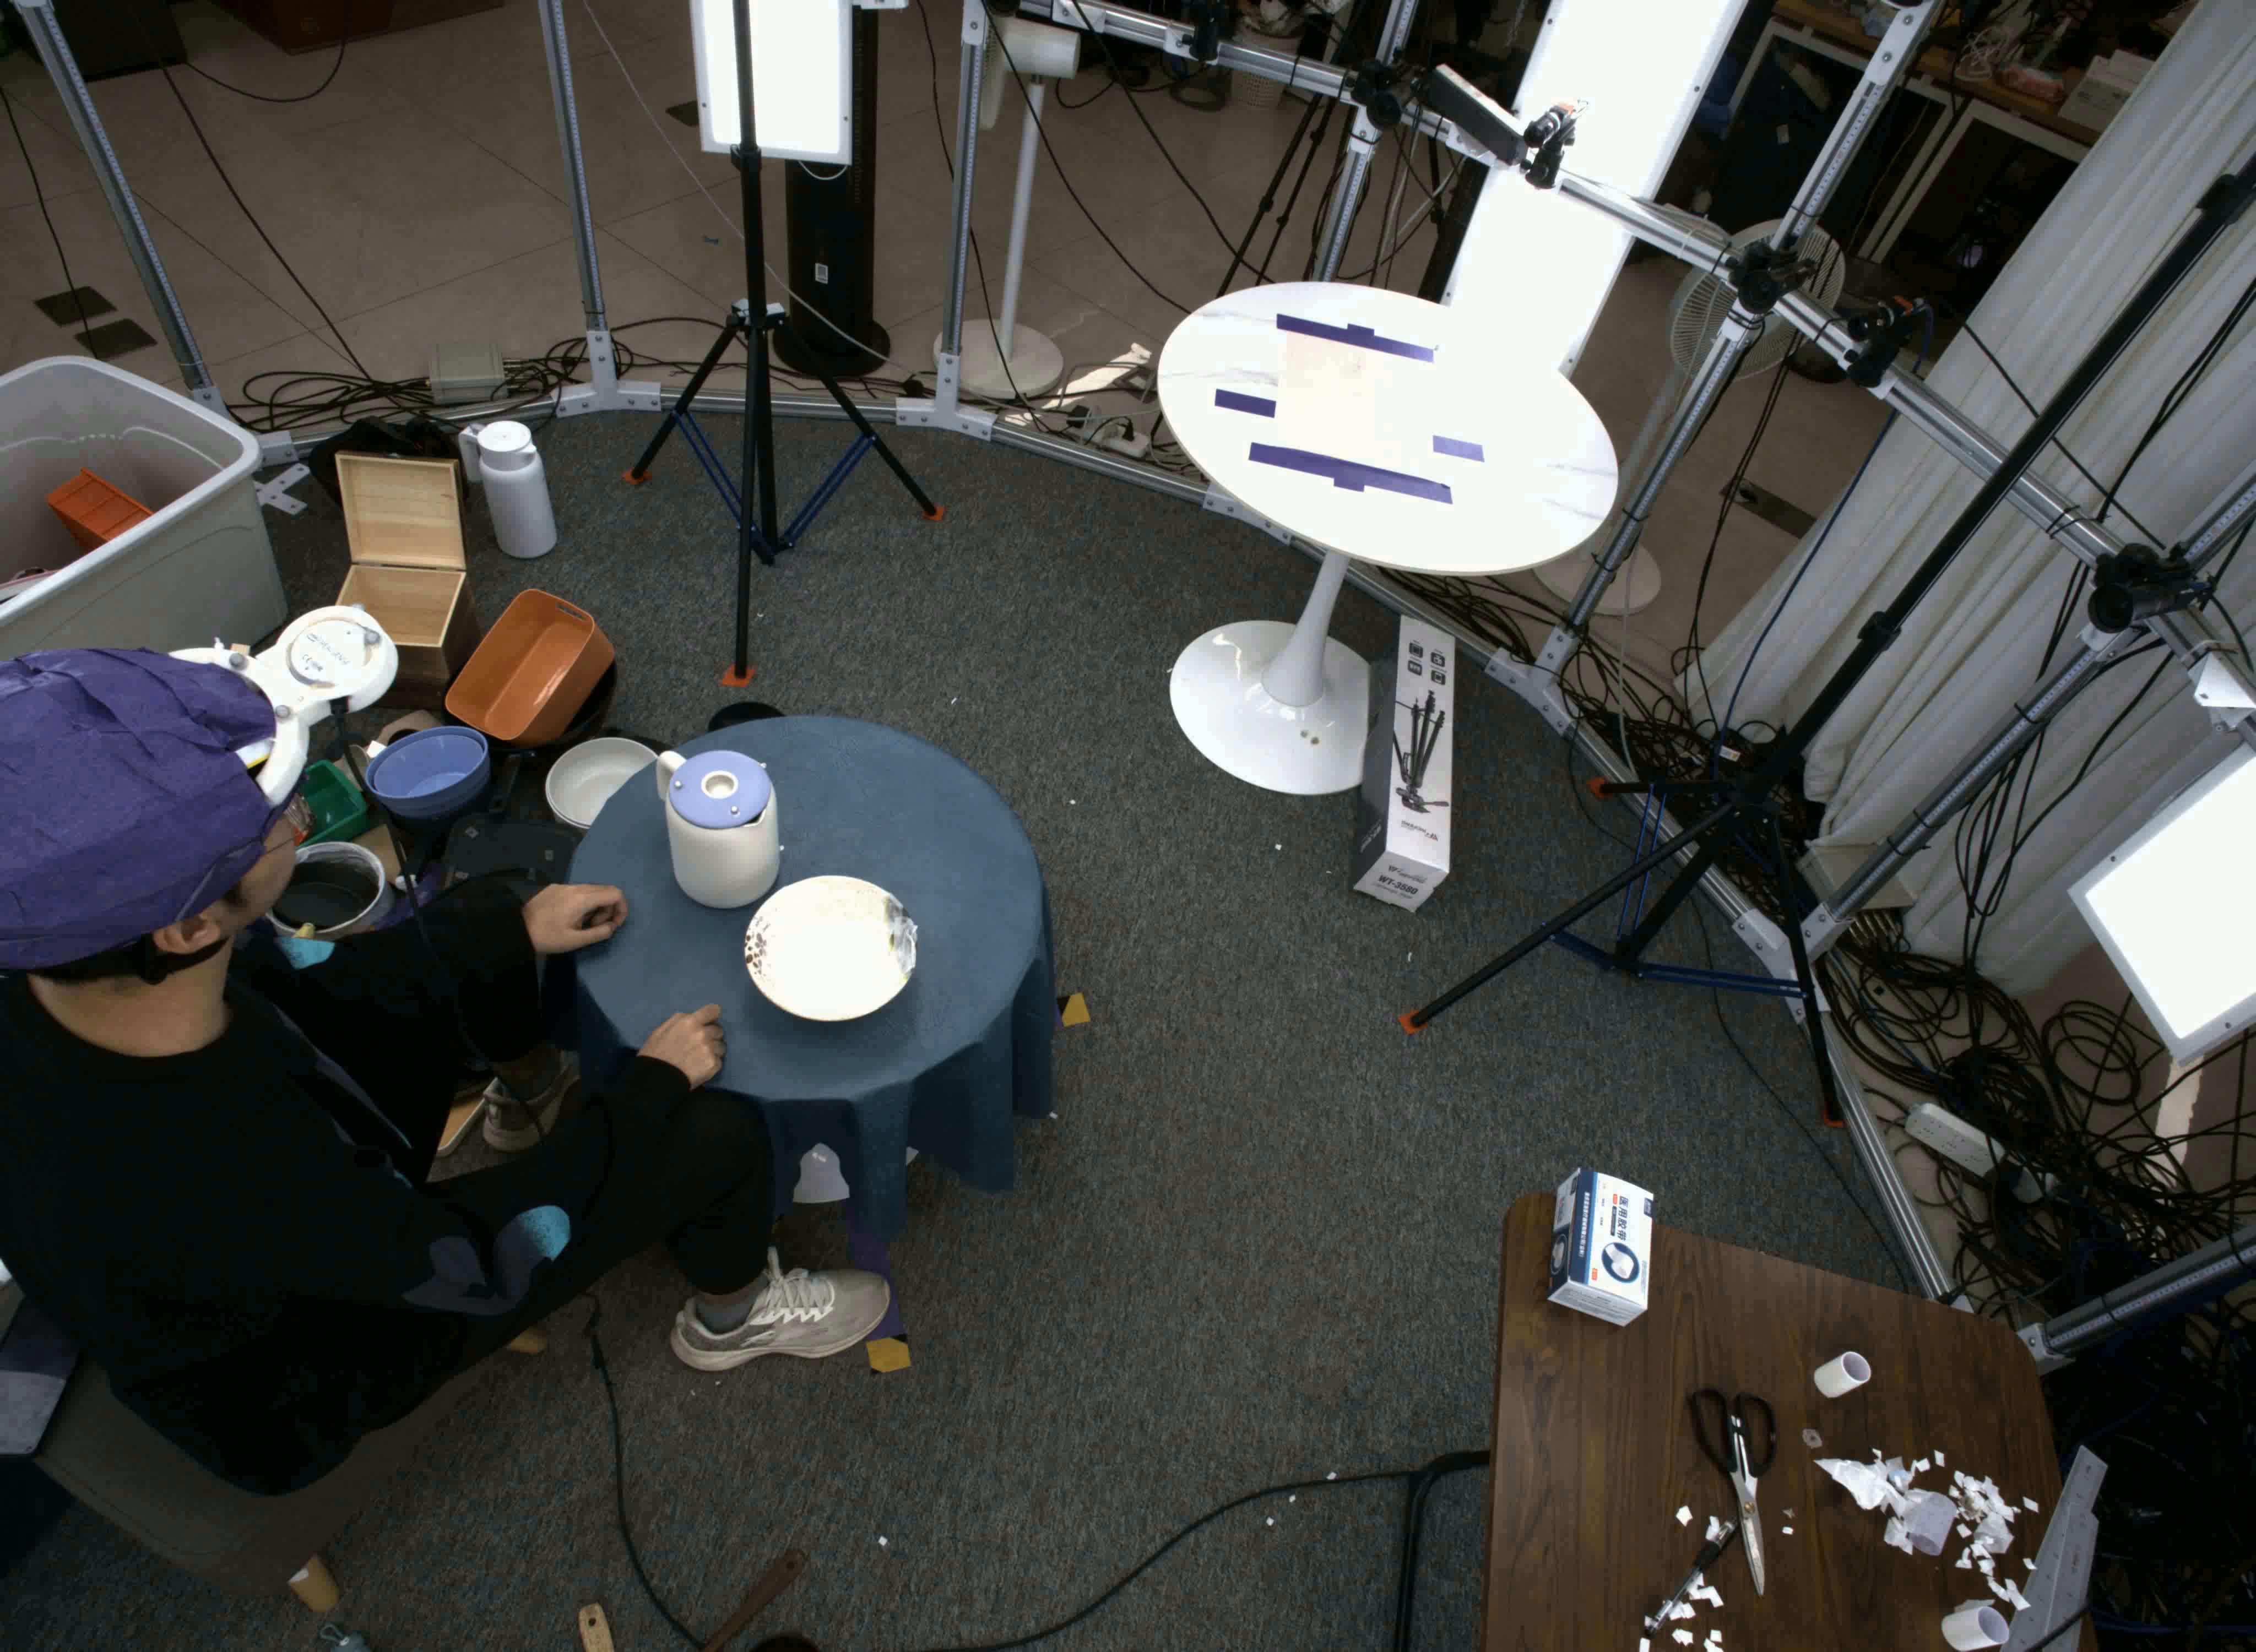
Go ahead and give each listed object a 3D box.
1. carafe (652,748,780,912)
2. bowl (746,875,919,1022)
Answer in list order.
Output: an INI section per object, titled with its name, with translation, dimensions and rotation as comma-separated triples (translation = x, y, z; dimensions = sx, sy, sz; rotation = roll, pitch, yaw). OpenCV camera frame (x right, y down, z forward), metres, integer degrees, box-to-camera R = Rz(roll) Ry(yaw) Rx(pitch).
[carafe]
translation = -0.520, -0.009, 1.601
dimensions = 0.187, 0.187, 0.132
rotation = 33, 52, 15
[bowl]
translation = -0.357, 0.162, 1.580
dimensions = 0.203, 0.079, 0.200
rotation = 6, 55, -7
